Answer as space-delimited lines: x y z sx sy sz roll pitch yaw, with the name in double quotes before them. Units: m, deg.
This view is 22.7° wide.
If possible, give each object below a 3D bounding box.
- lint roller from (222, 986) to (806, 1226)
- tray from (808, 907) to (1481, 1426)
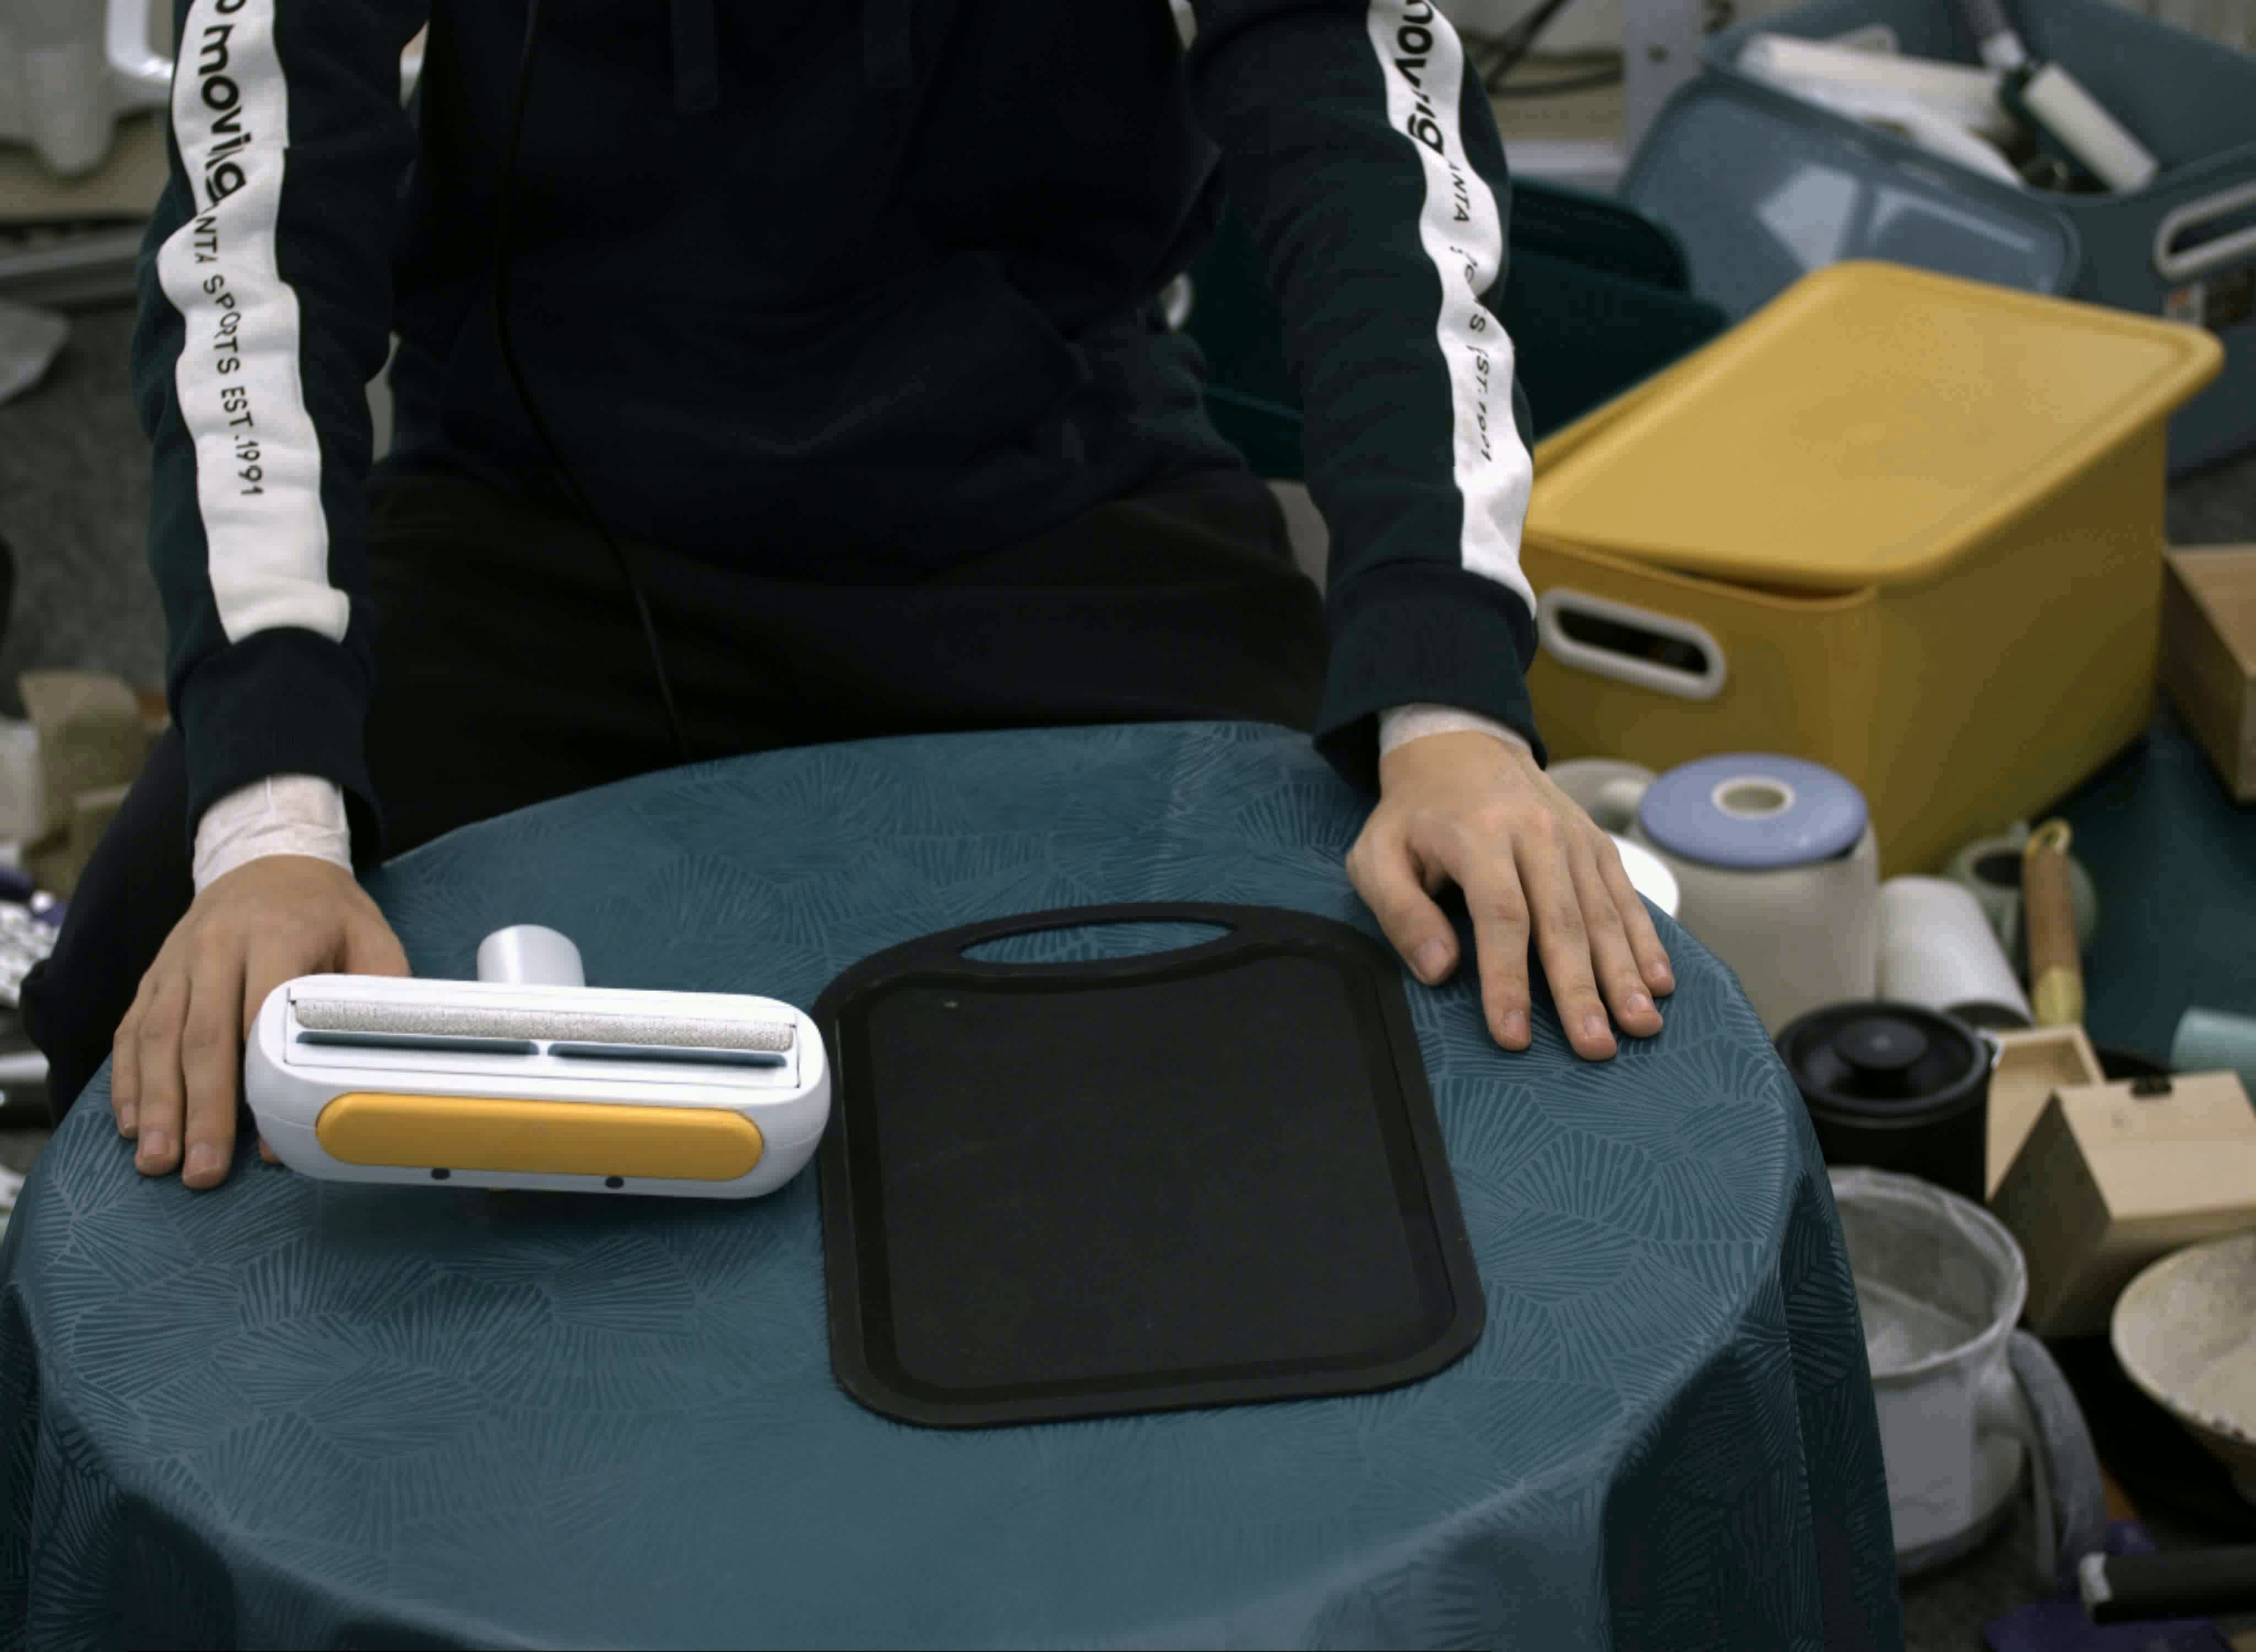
"lint roller" -0.205 0.086 1.917 0.192 0.074 0.194 3 13 -3
"tray" -0.001 0.105 1.885 0.210 0.009 0.330 -4 27 -3
